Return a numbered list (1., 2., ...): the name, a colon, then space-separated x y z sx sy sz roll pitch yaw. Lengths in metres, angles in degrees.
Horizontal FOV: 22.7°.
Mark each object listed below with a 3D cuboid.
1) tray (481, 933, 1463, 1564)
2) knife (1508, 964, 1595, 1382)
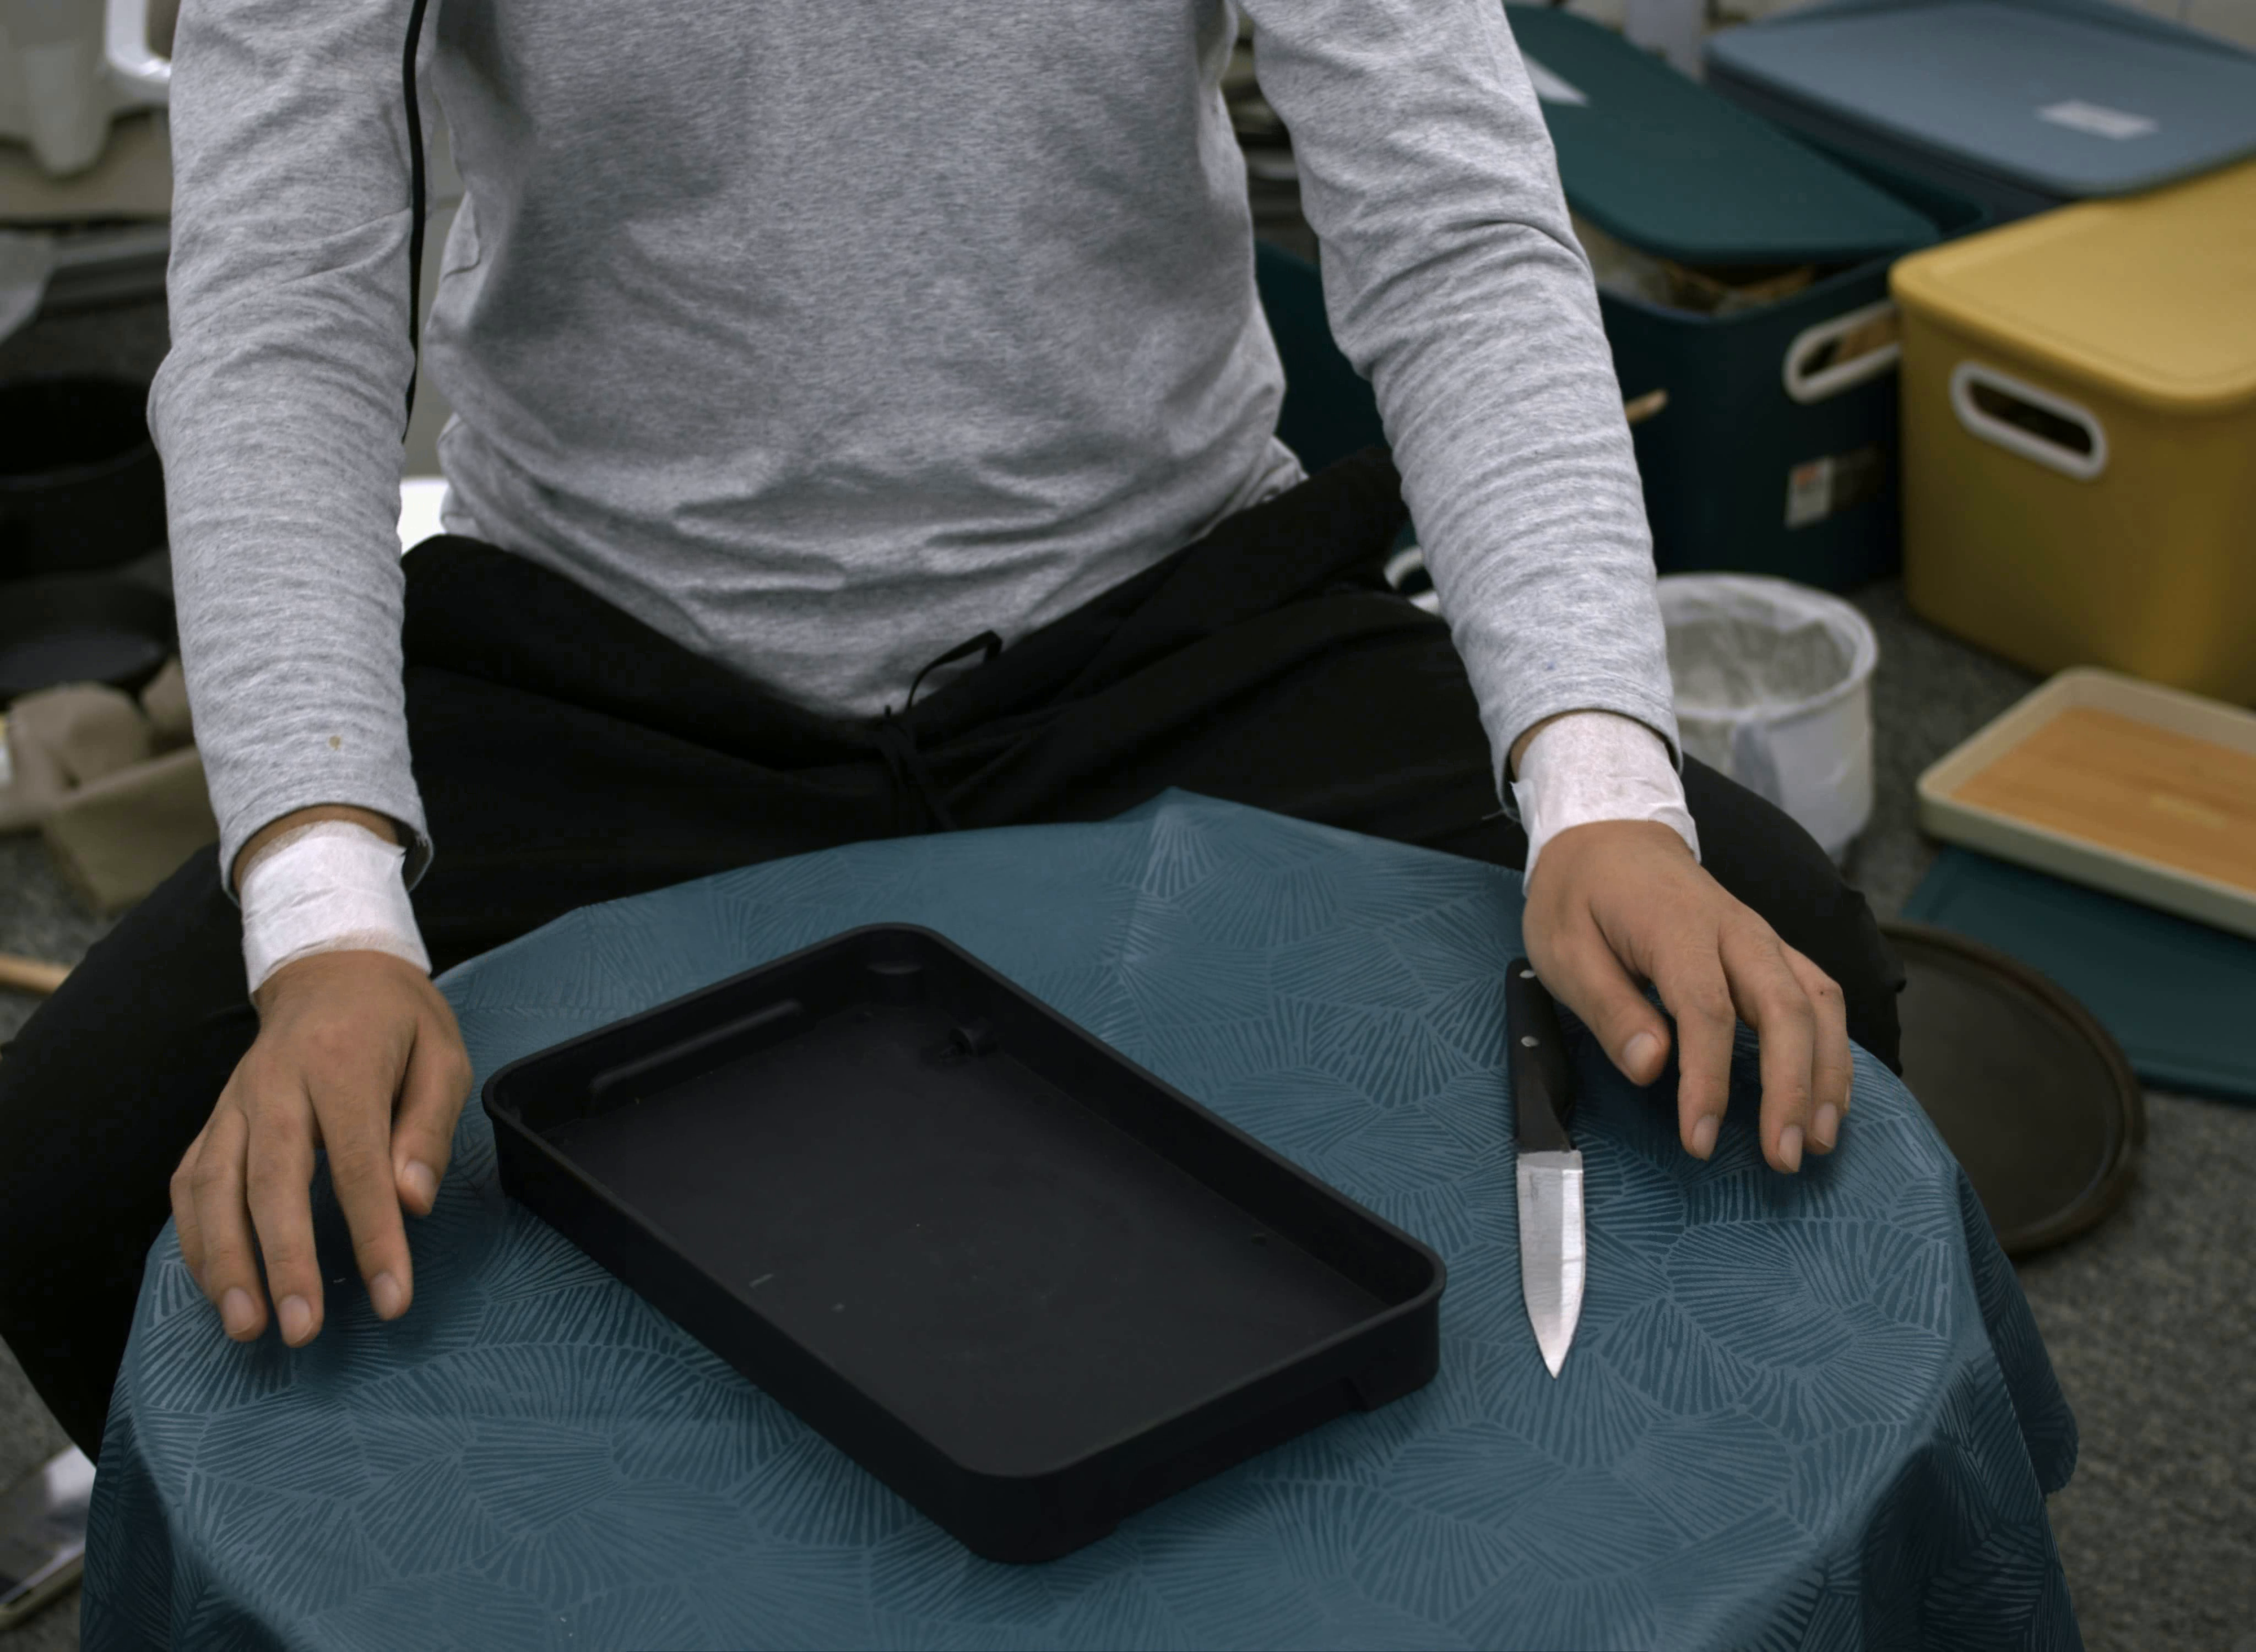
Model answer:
1. tray: -0.055 0.130 1.812 0.186 0.036 0.318 -21 32 -32
2. knife: 0.138 0.113 1.853 0.024 0.016 0.242 -4 30 4
